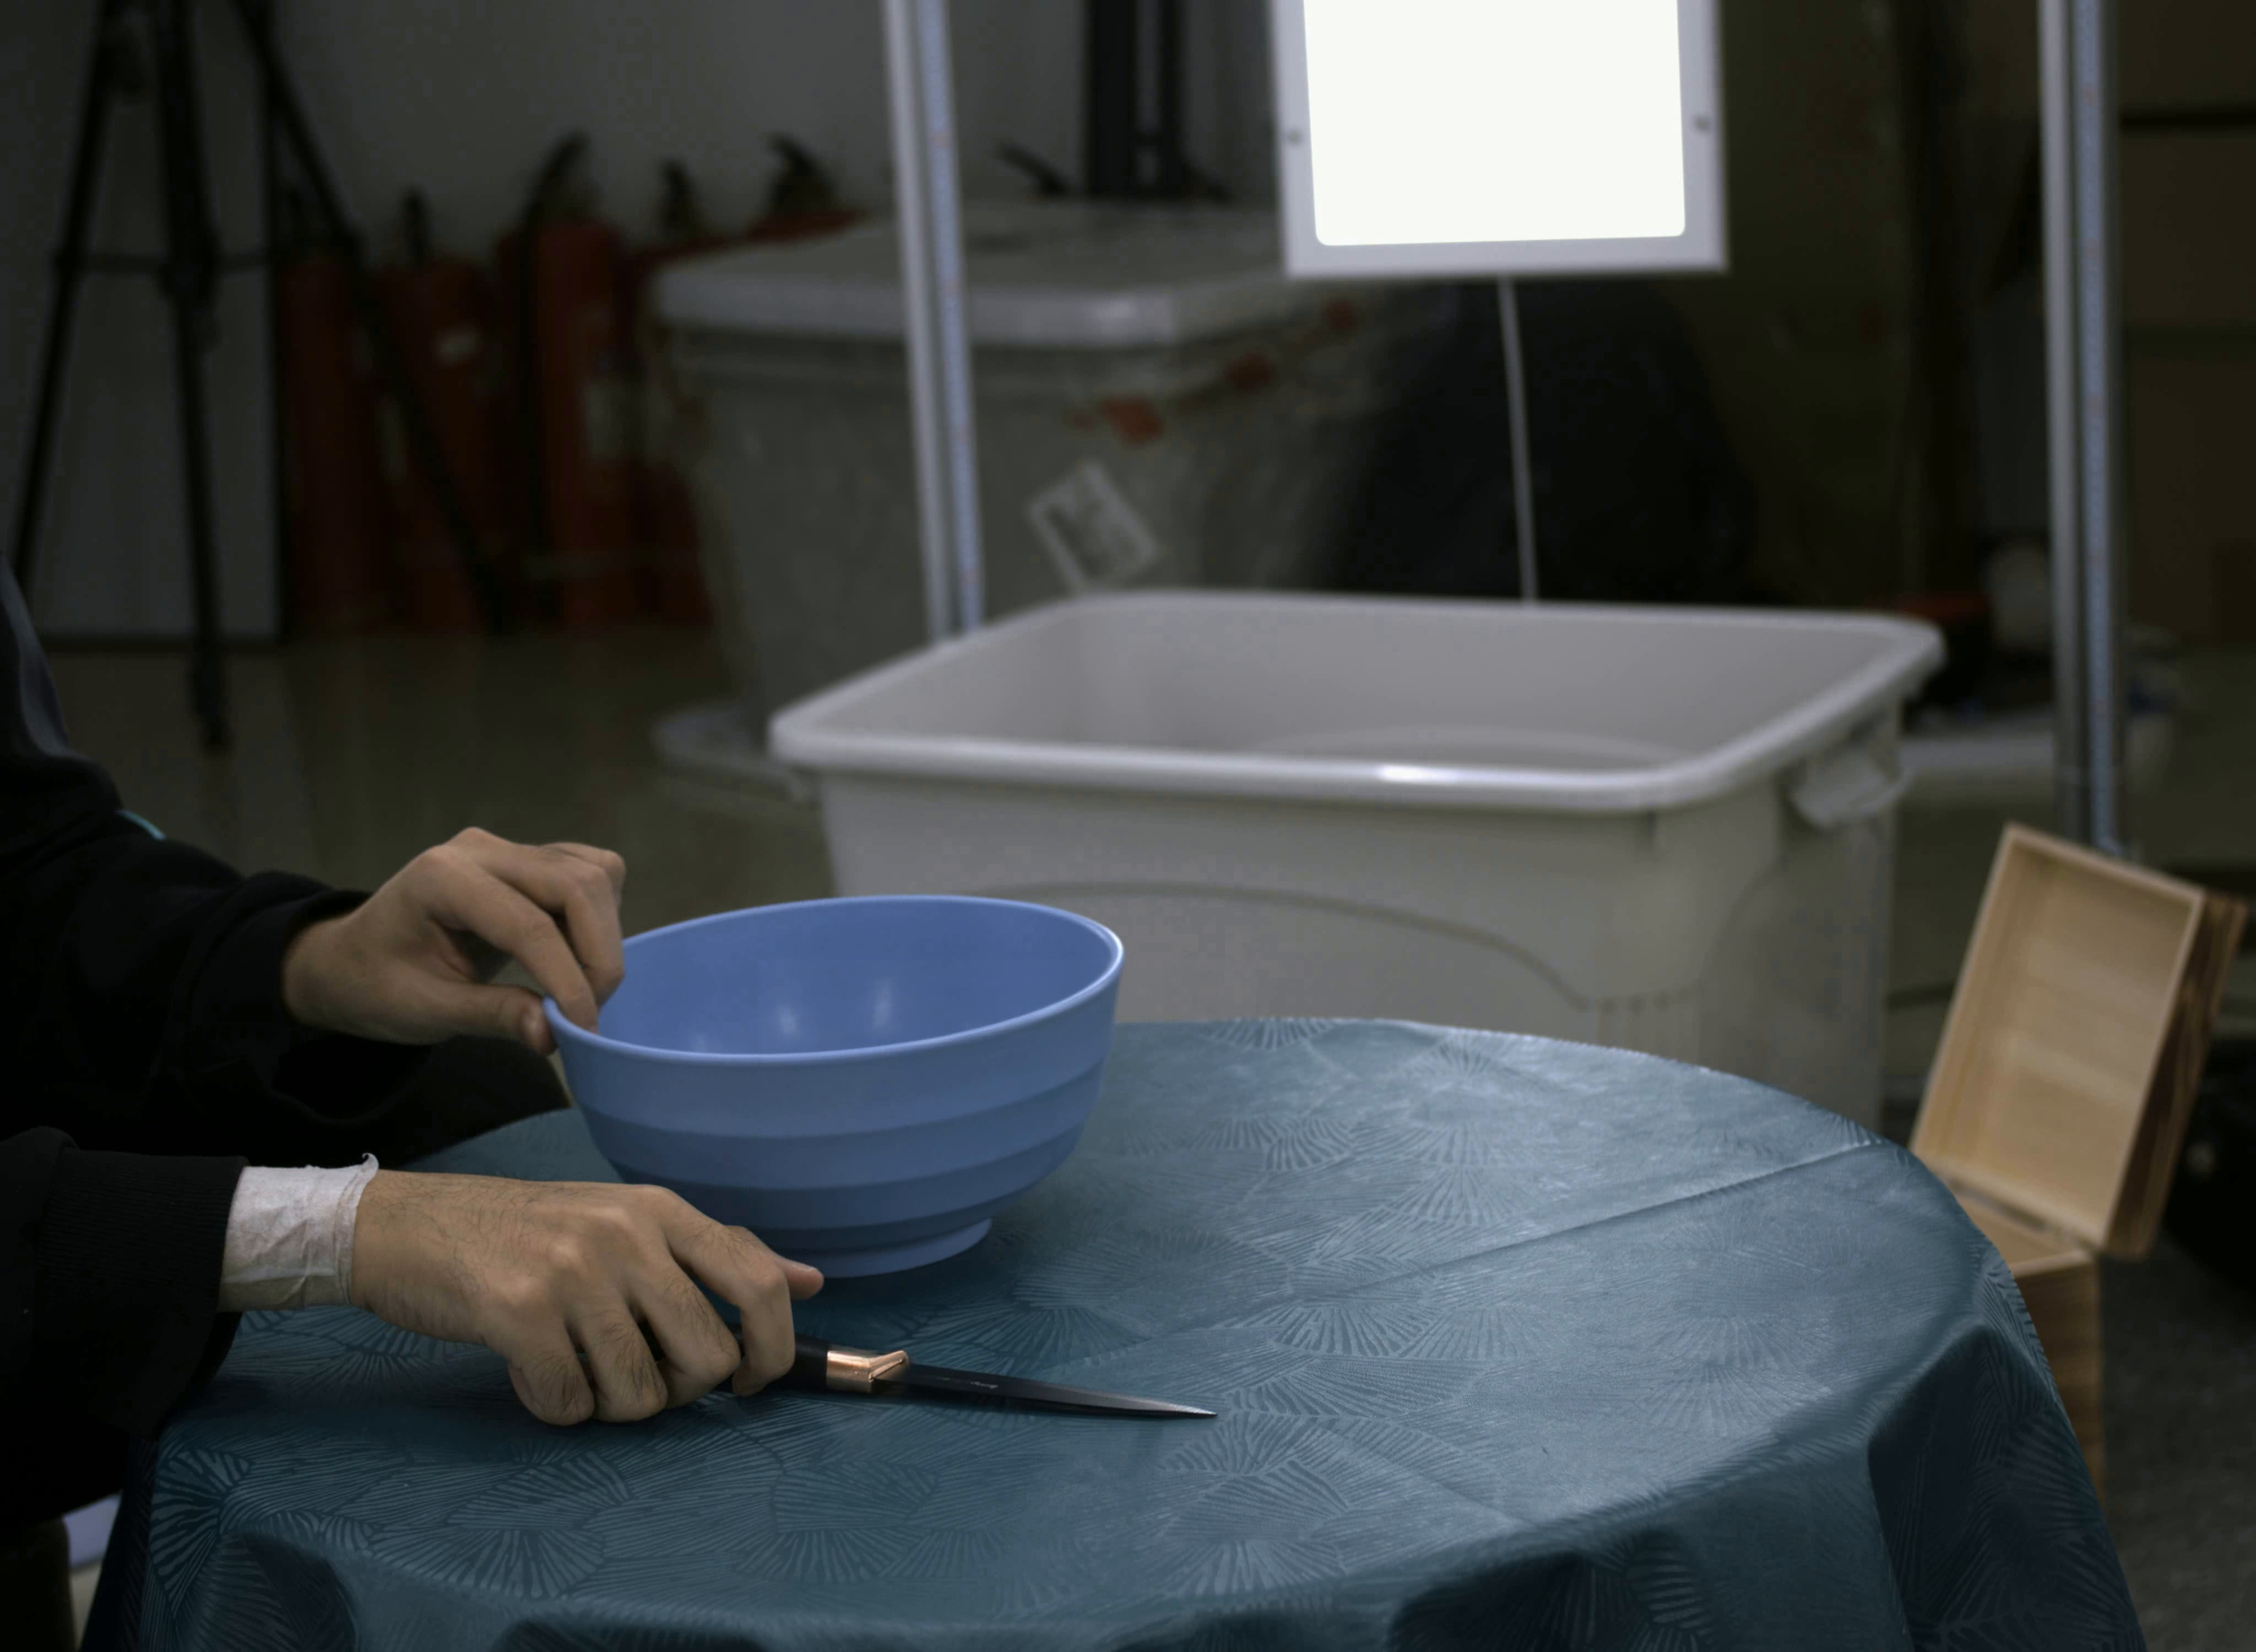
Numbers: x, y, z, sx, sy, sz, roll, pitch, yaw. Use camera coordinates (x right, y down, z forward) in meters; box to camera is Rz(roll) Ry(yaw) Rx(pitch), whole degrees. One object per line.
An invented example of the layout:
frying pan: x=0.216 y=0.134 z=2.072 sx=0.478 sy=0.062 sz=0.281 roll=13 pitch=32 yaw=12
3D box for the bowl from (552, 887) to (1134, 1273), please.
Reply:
bowl: x=-0.094 y=0.092 z=1.863 sx=0.196 sy=0.096 sz=0.196 roll=-2 pitch=14 yaw=-1

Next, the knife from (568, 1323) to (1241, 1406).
knife: x=-0.072 y=0.171 z=1.722 sx=0.229 sy=0.017 sz=0.026 roll=3 pitch=10 yaw=24
